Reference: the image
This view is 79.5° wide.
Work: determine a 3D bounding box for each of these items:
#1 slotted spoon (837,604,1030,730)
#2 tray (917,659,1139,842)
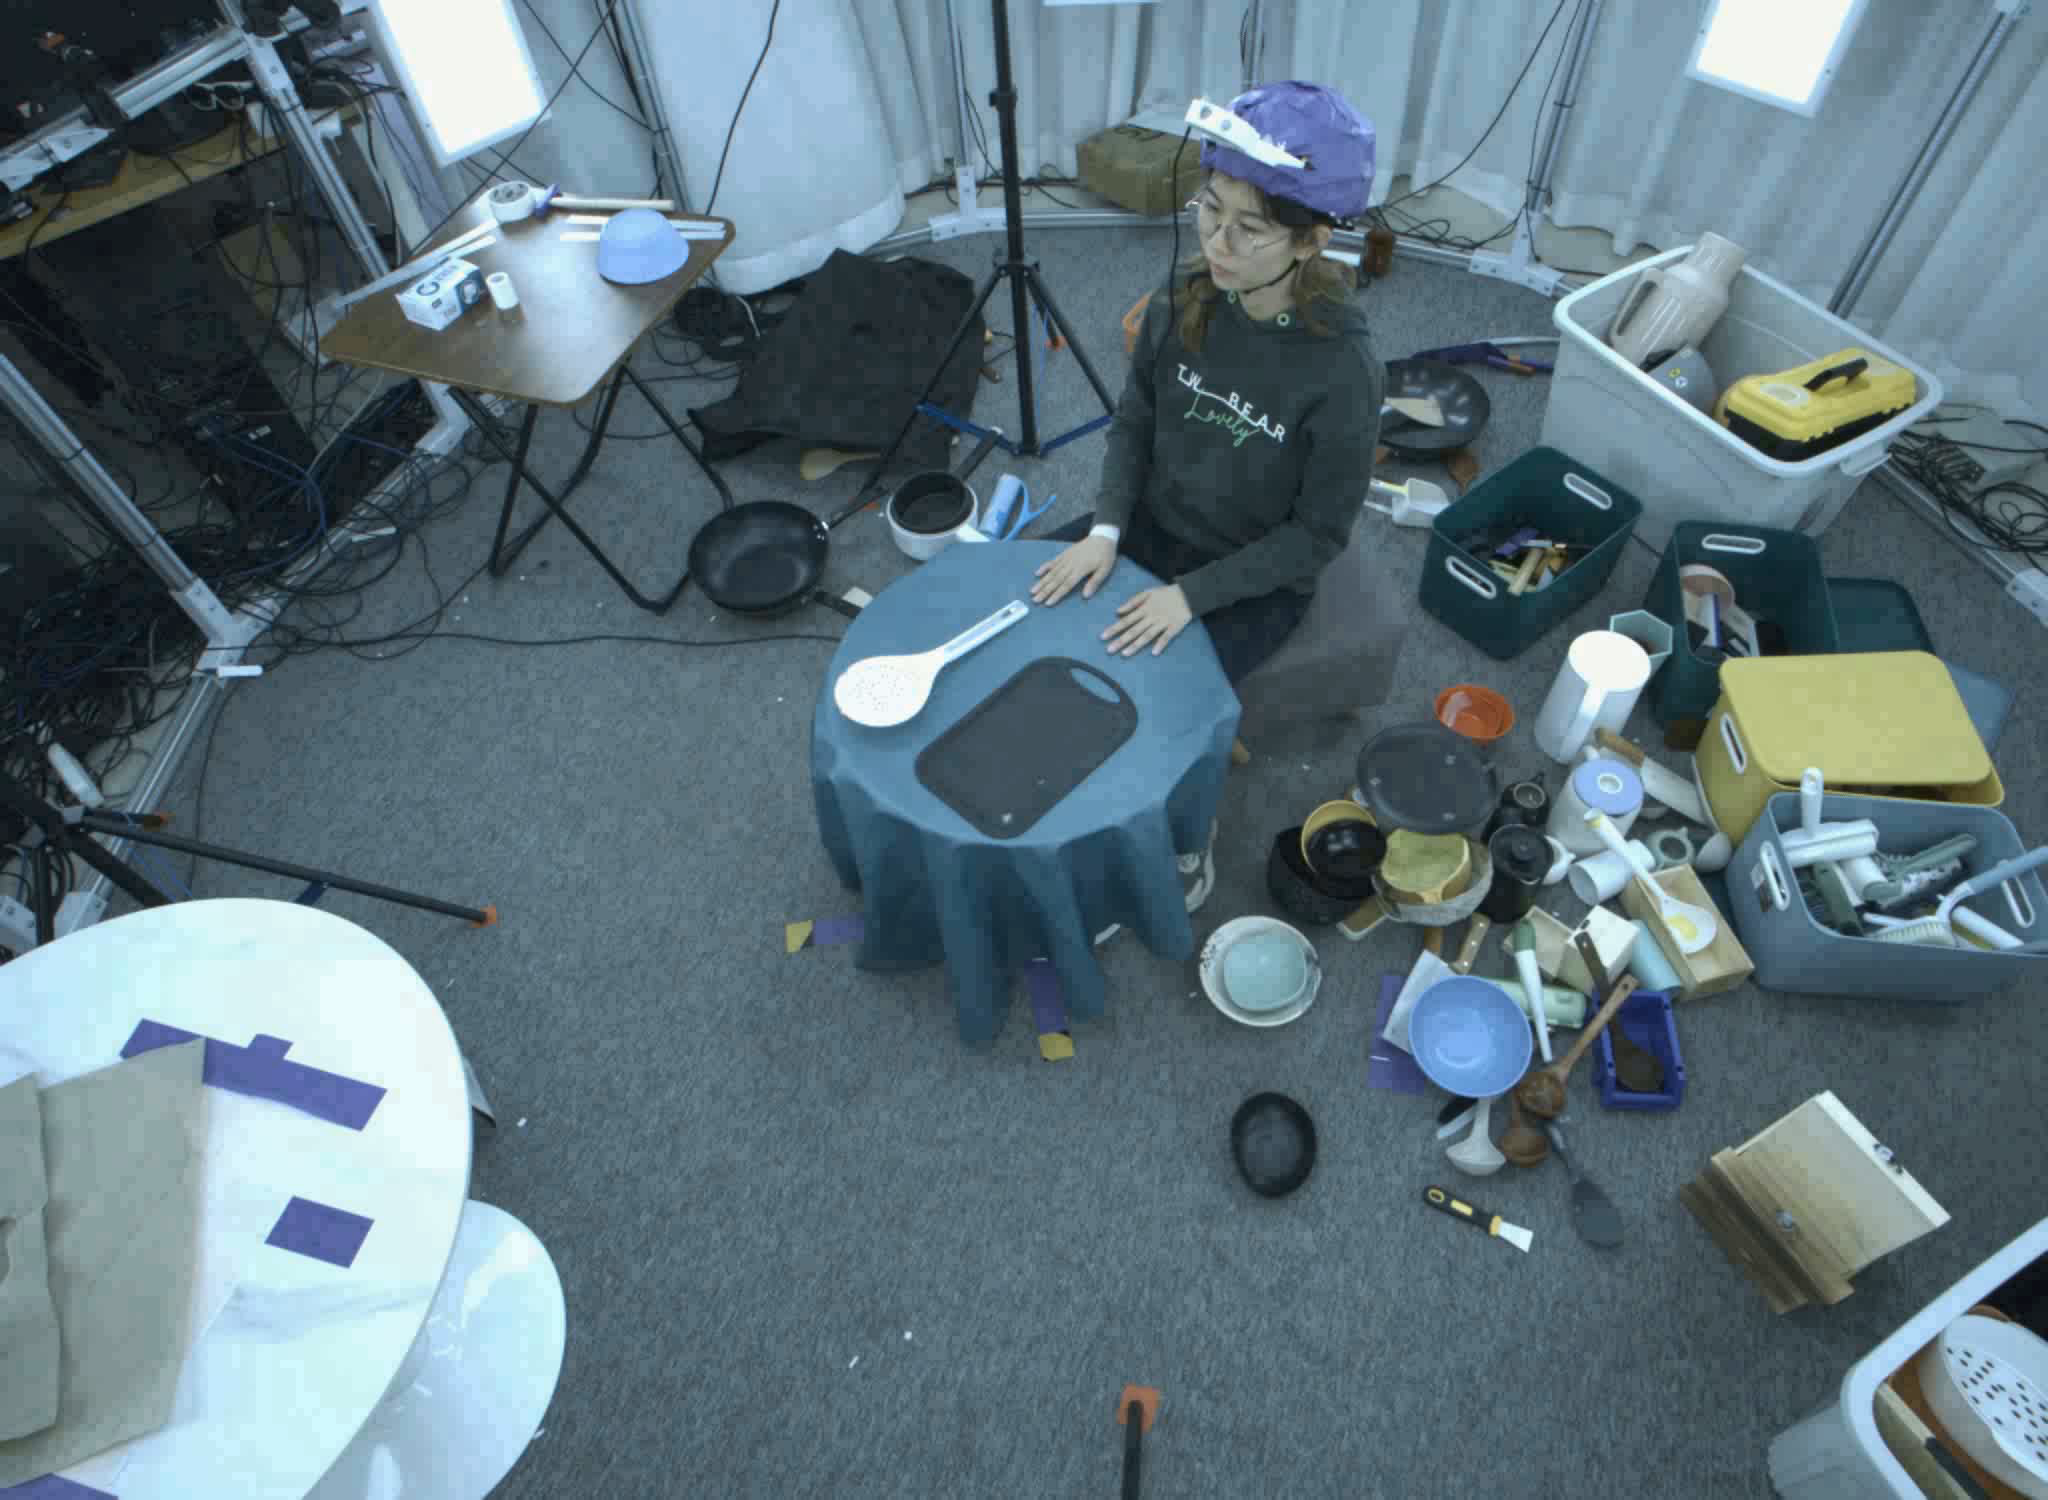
[{"bbox_3d":[-0.129,-0.135,1.868,0.352,0.046,0.134,-37,64,-23],"label":"slotted spoon"},{"bbox_3d":[0.013,-0.012,1.801,0.207,0.010,0.327,38,64,24],"label":"tray"}]
